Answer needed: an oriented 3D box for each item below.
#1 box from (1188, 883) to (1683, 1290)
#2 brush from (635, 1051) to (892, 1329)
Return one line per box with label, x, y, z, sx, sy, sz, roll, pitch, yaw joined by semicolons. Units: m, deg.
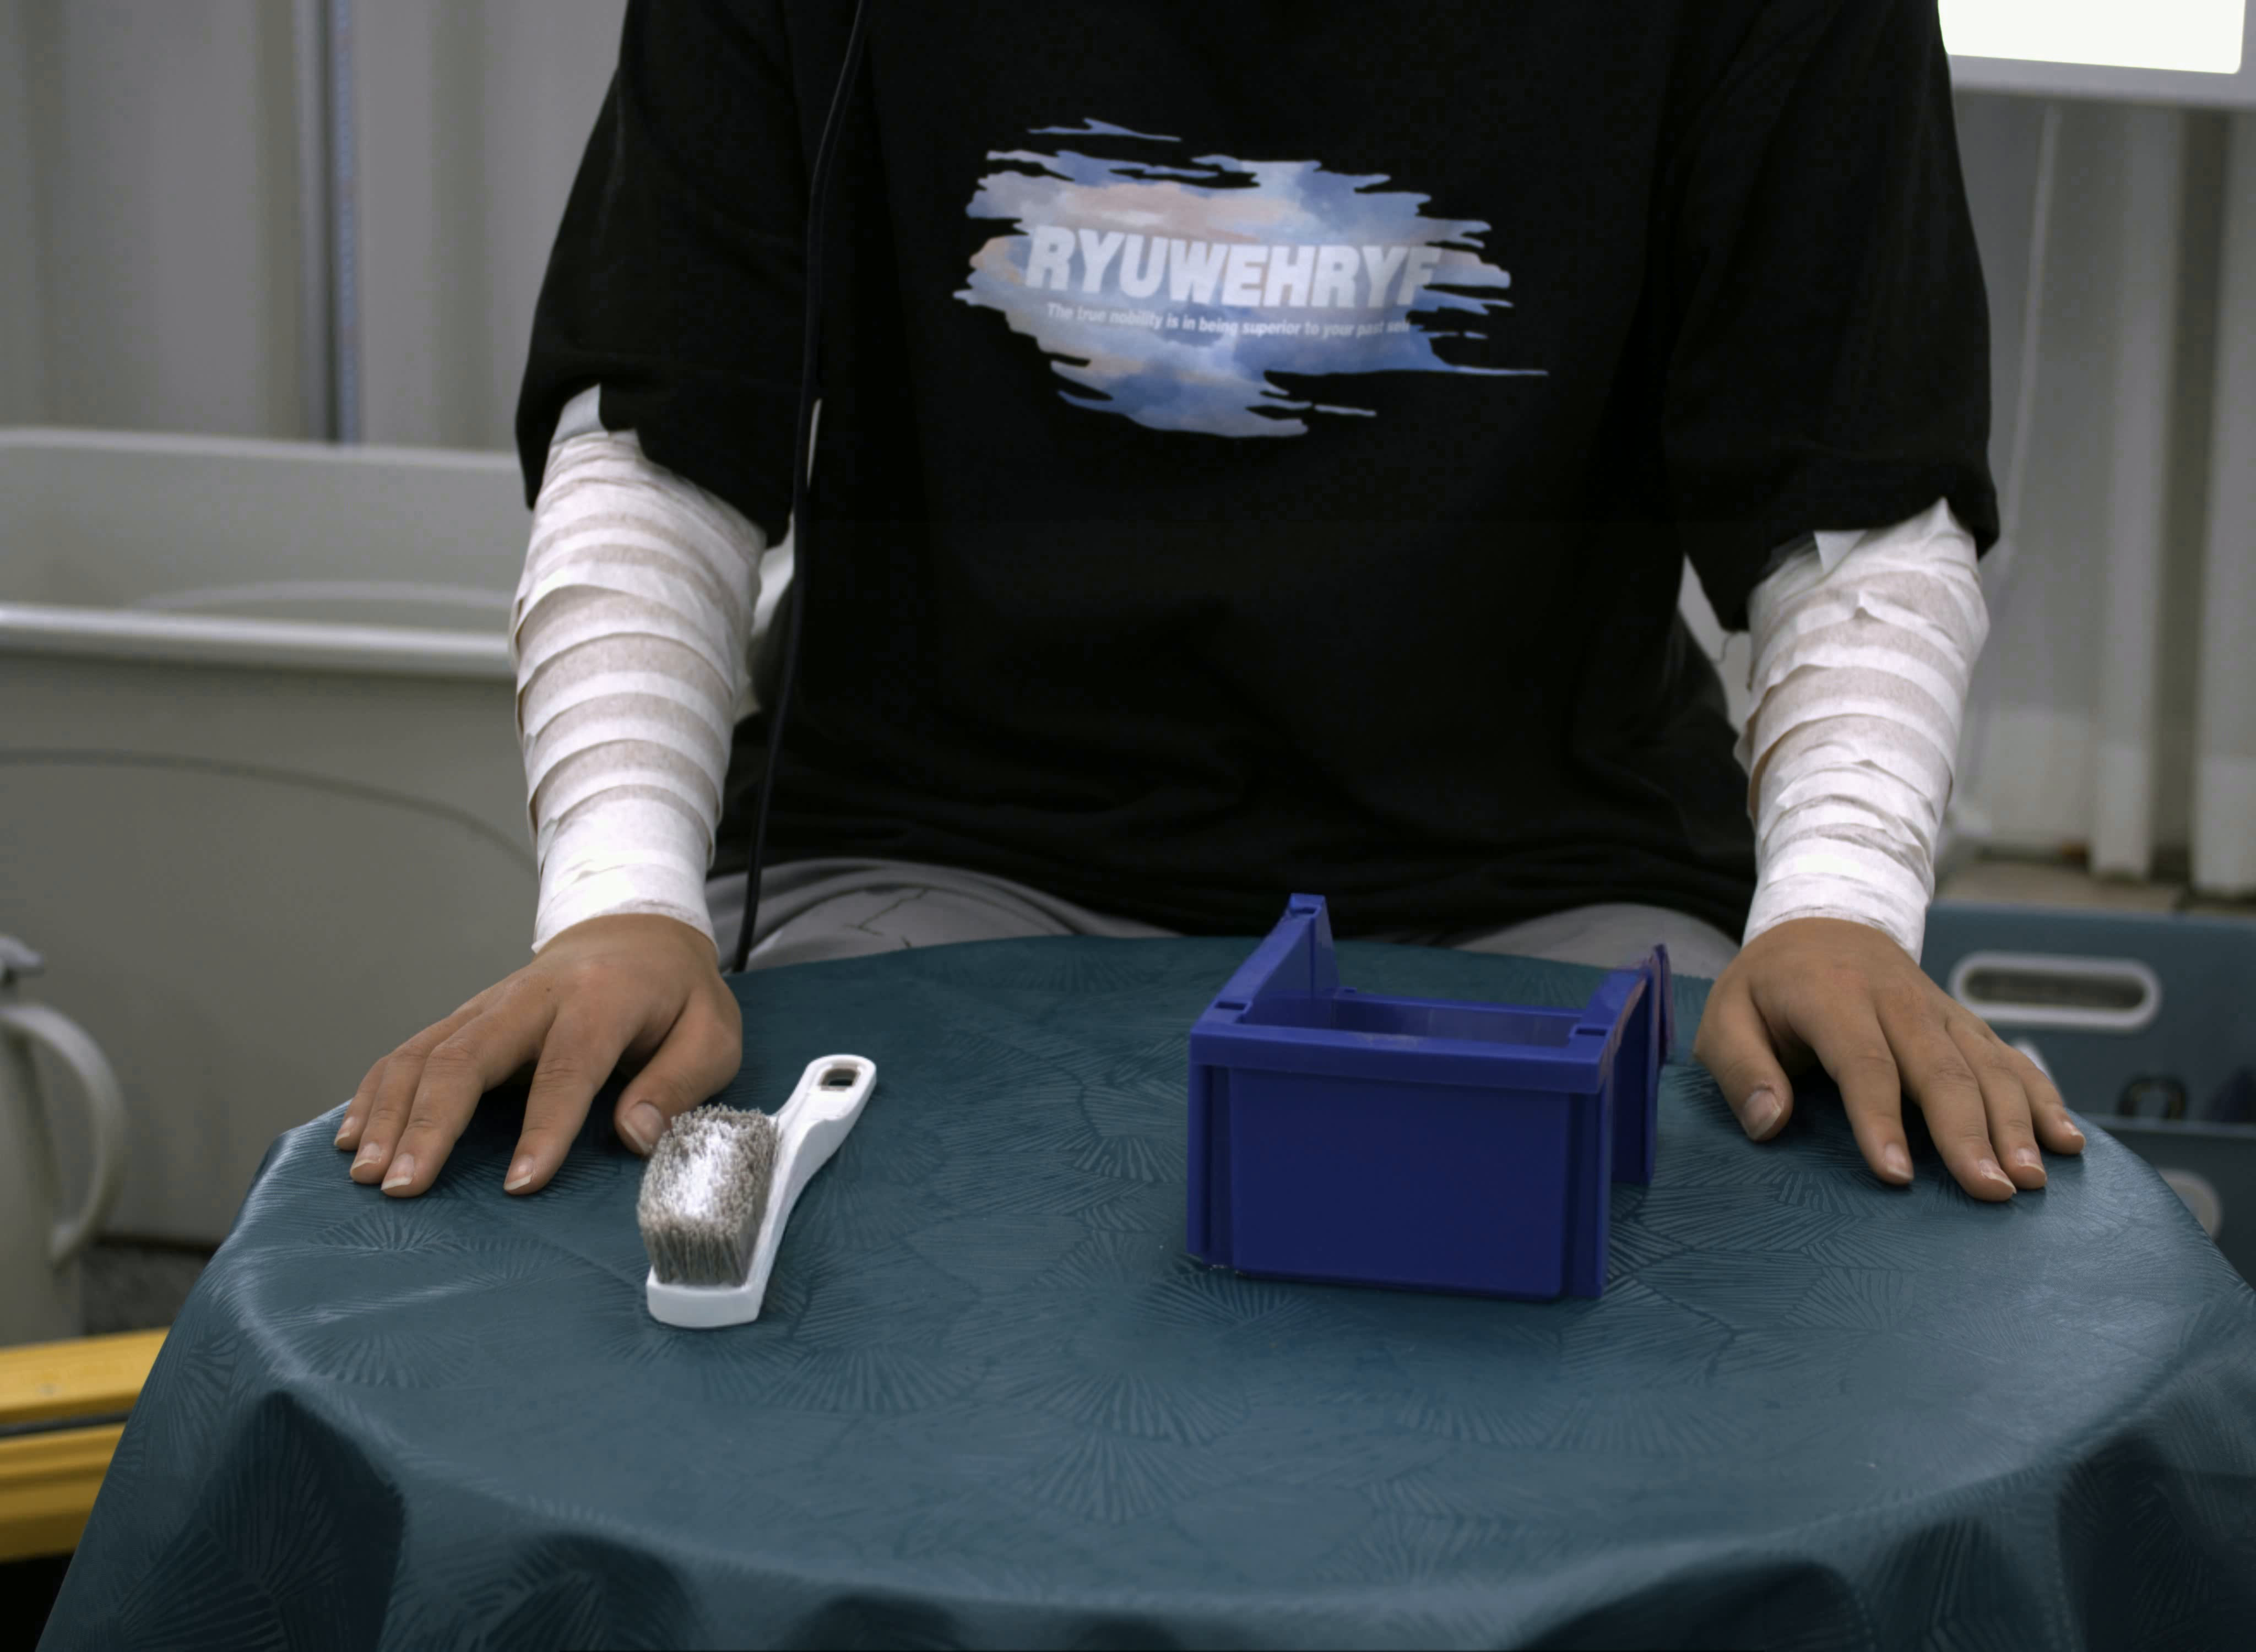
box;0.095;0.075;1.610;0.123;0.082;0.179;4;17;14
brush;-0.107;0.091;1.604;0.034;0.050;0.243;3;16;9
